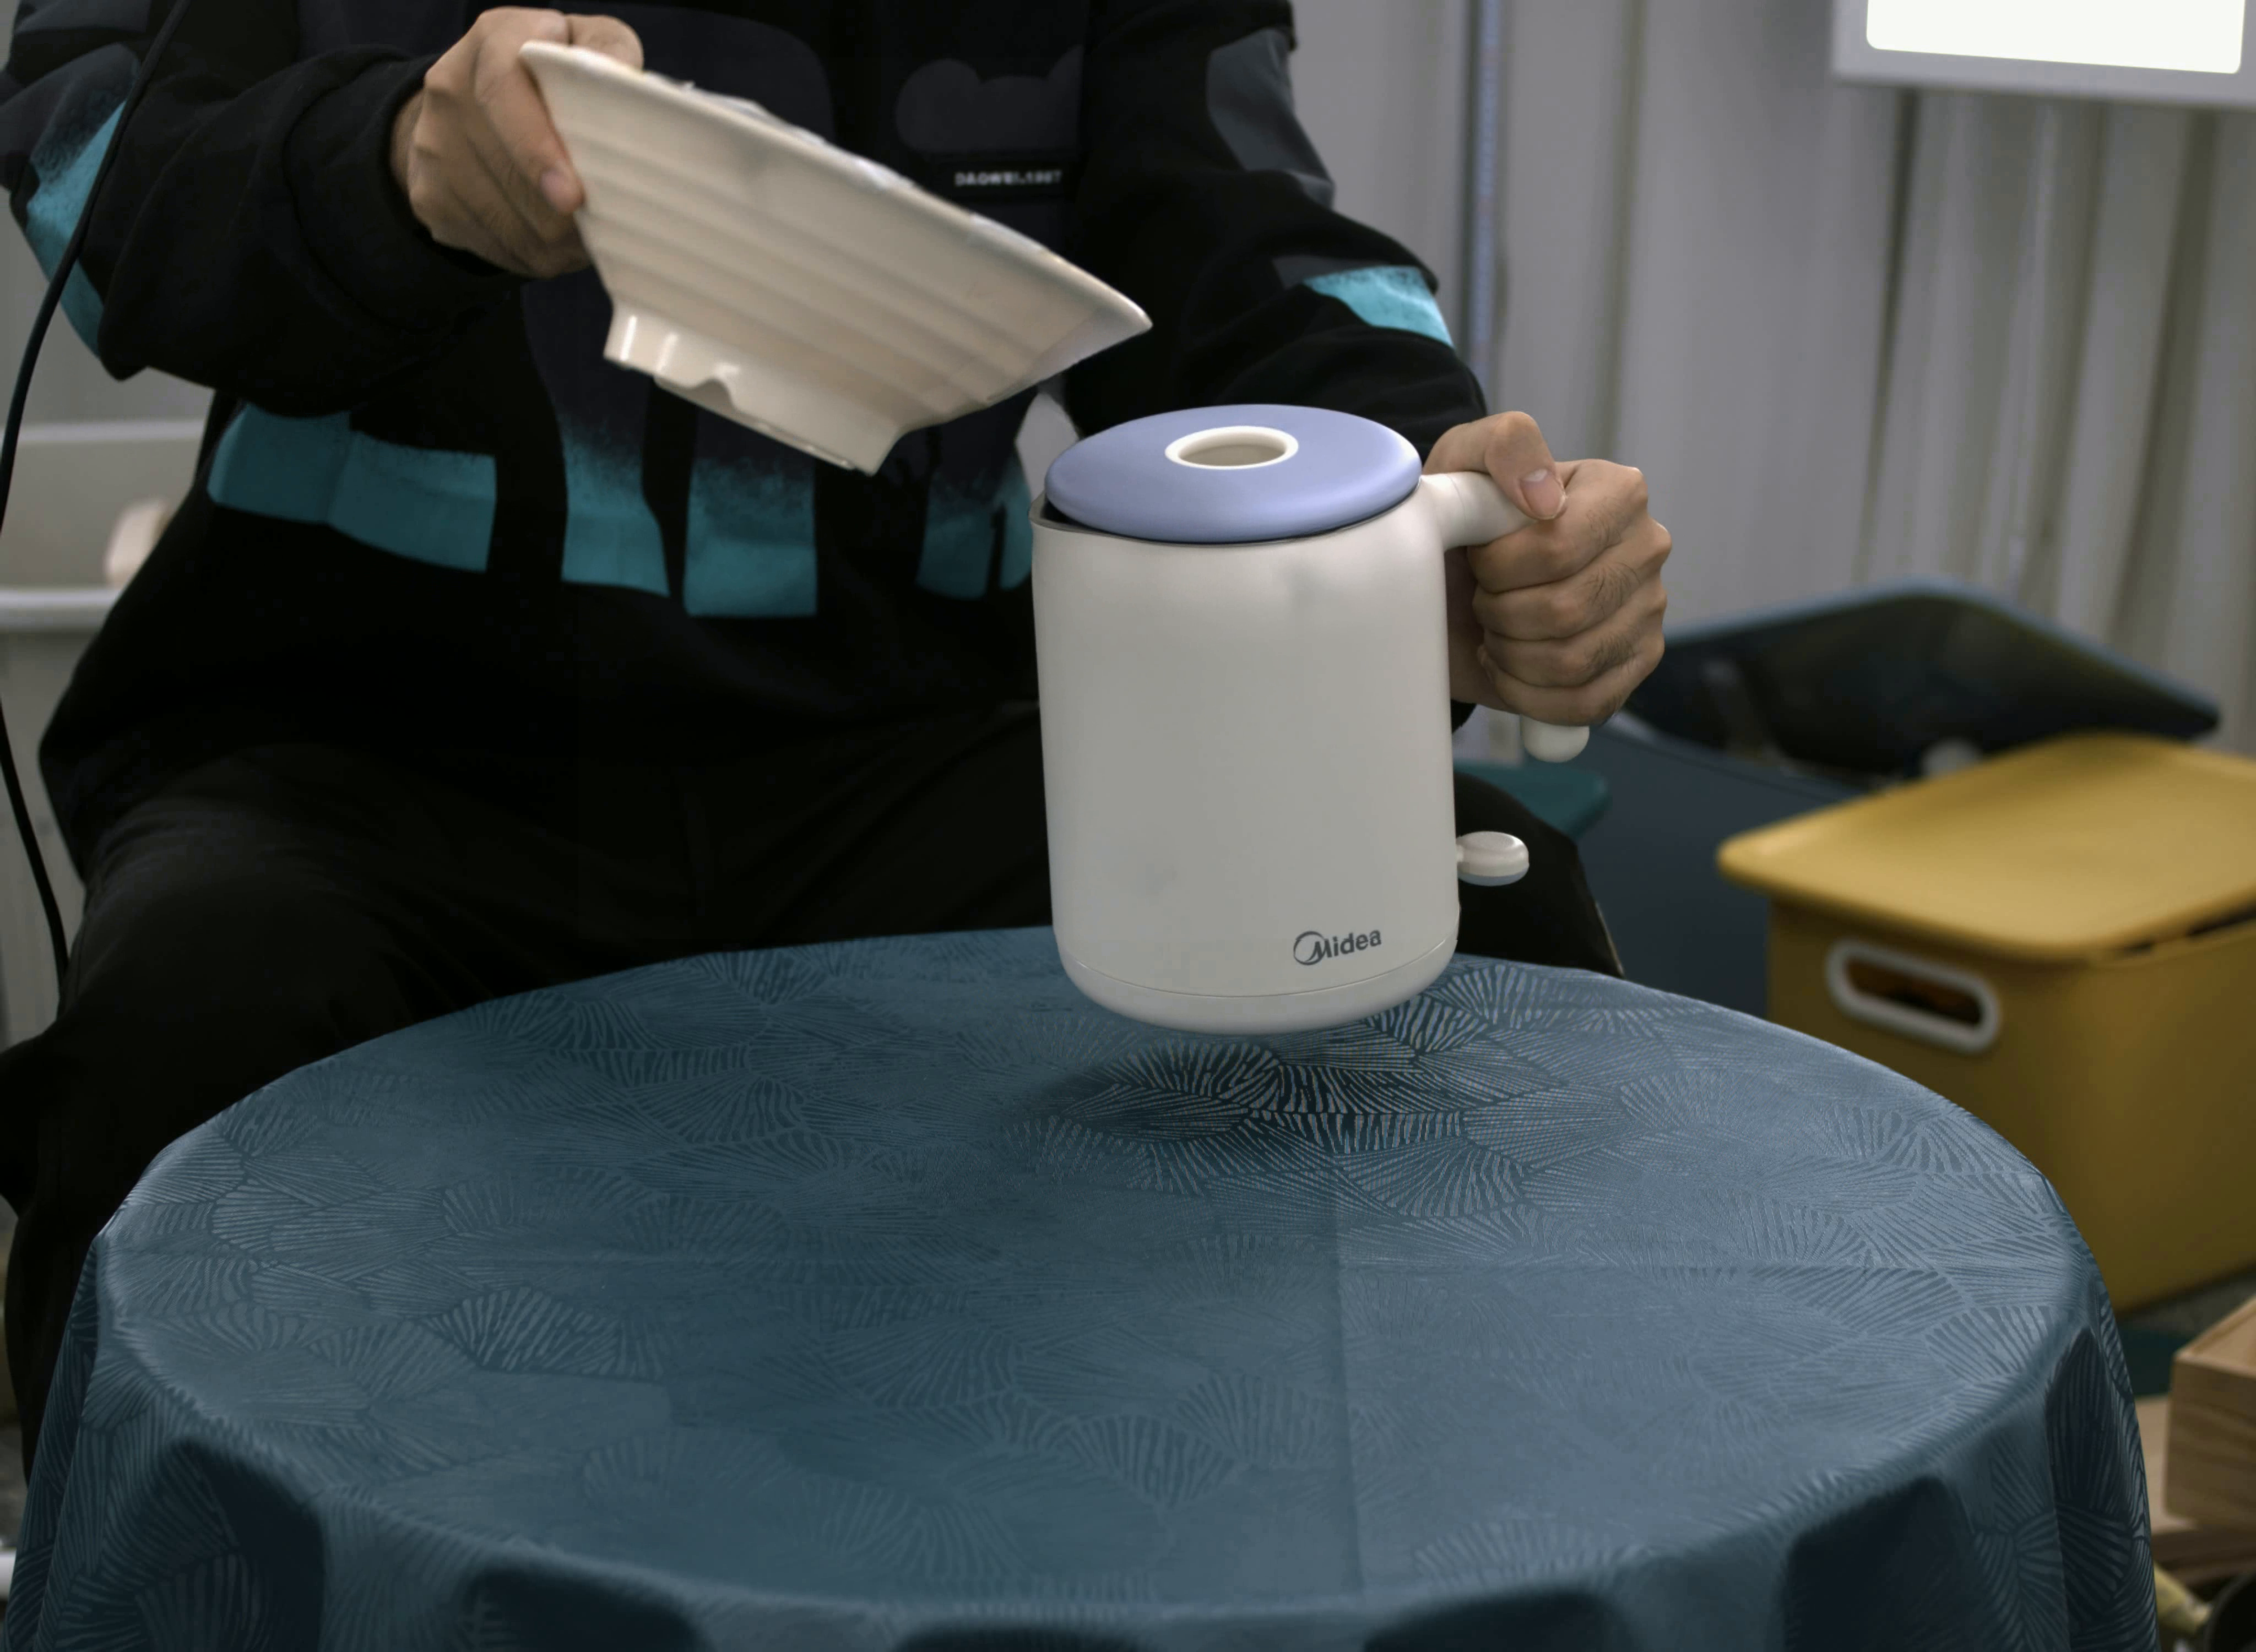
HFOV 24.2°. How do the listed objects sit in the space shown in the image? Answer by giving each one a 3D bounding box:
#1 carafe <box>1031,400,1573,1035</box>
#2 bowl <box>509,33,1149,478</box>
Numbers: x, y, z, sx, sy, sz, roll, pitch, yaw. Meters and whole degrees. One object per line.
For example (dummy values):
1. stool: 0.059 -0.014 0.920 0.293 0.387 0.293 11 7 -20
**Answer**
1. carafe: 0.059 -0.039 1.680 0.191 0.184 0.130 -10 24 -23
2. bowl: -0.101 -0.155 1.543 0.203 0.078 0.204 22 -2 1
